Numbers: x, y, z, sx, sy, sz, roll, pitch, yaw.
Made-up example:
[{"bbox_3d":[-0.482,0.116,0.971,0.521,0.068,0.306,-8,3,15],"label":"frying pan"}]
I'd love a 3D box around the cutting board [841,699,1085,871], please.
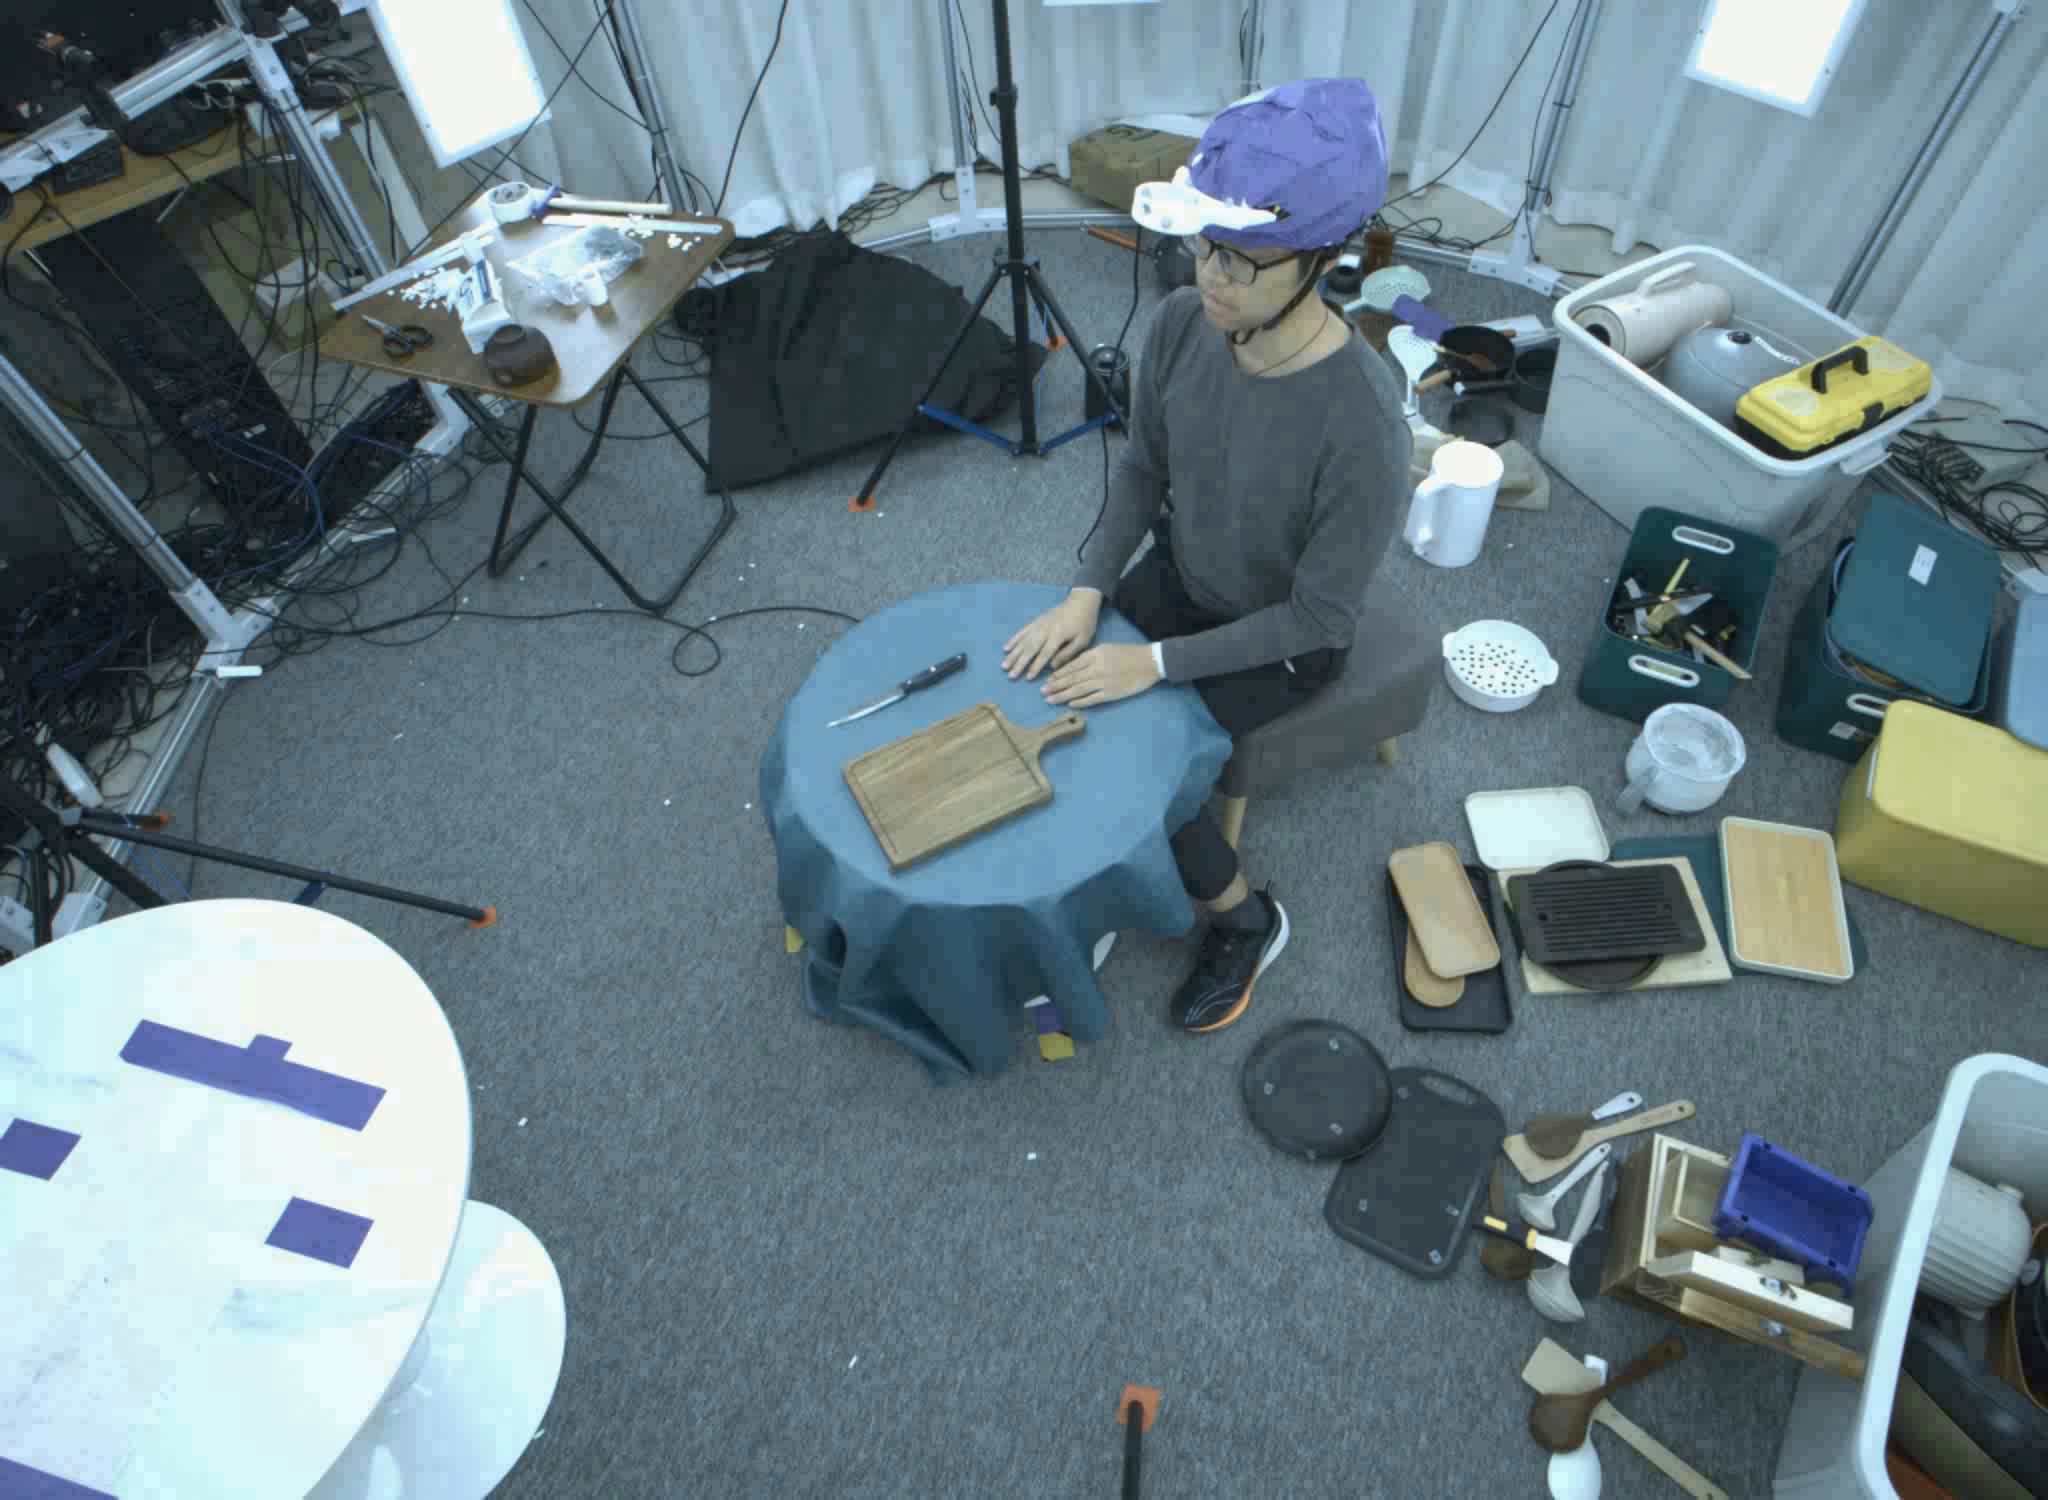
[{"bbox_3d":[-0.067,0.024,1.767,0.355,0.023,0.197,-25,58,-16],"label":"cutting board"}]

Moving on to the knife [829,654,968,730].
[{"bbox_3d":[-0.192,-0.088,1.856,0.240,0.016,0.024,-28,55,-15],"label":"knife"}]
